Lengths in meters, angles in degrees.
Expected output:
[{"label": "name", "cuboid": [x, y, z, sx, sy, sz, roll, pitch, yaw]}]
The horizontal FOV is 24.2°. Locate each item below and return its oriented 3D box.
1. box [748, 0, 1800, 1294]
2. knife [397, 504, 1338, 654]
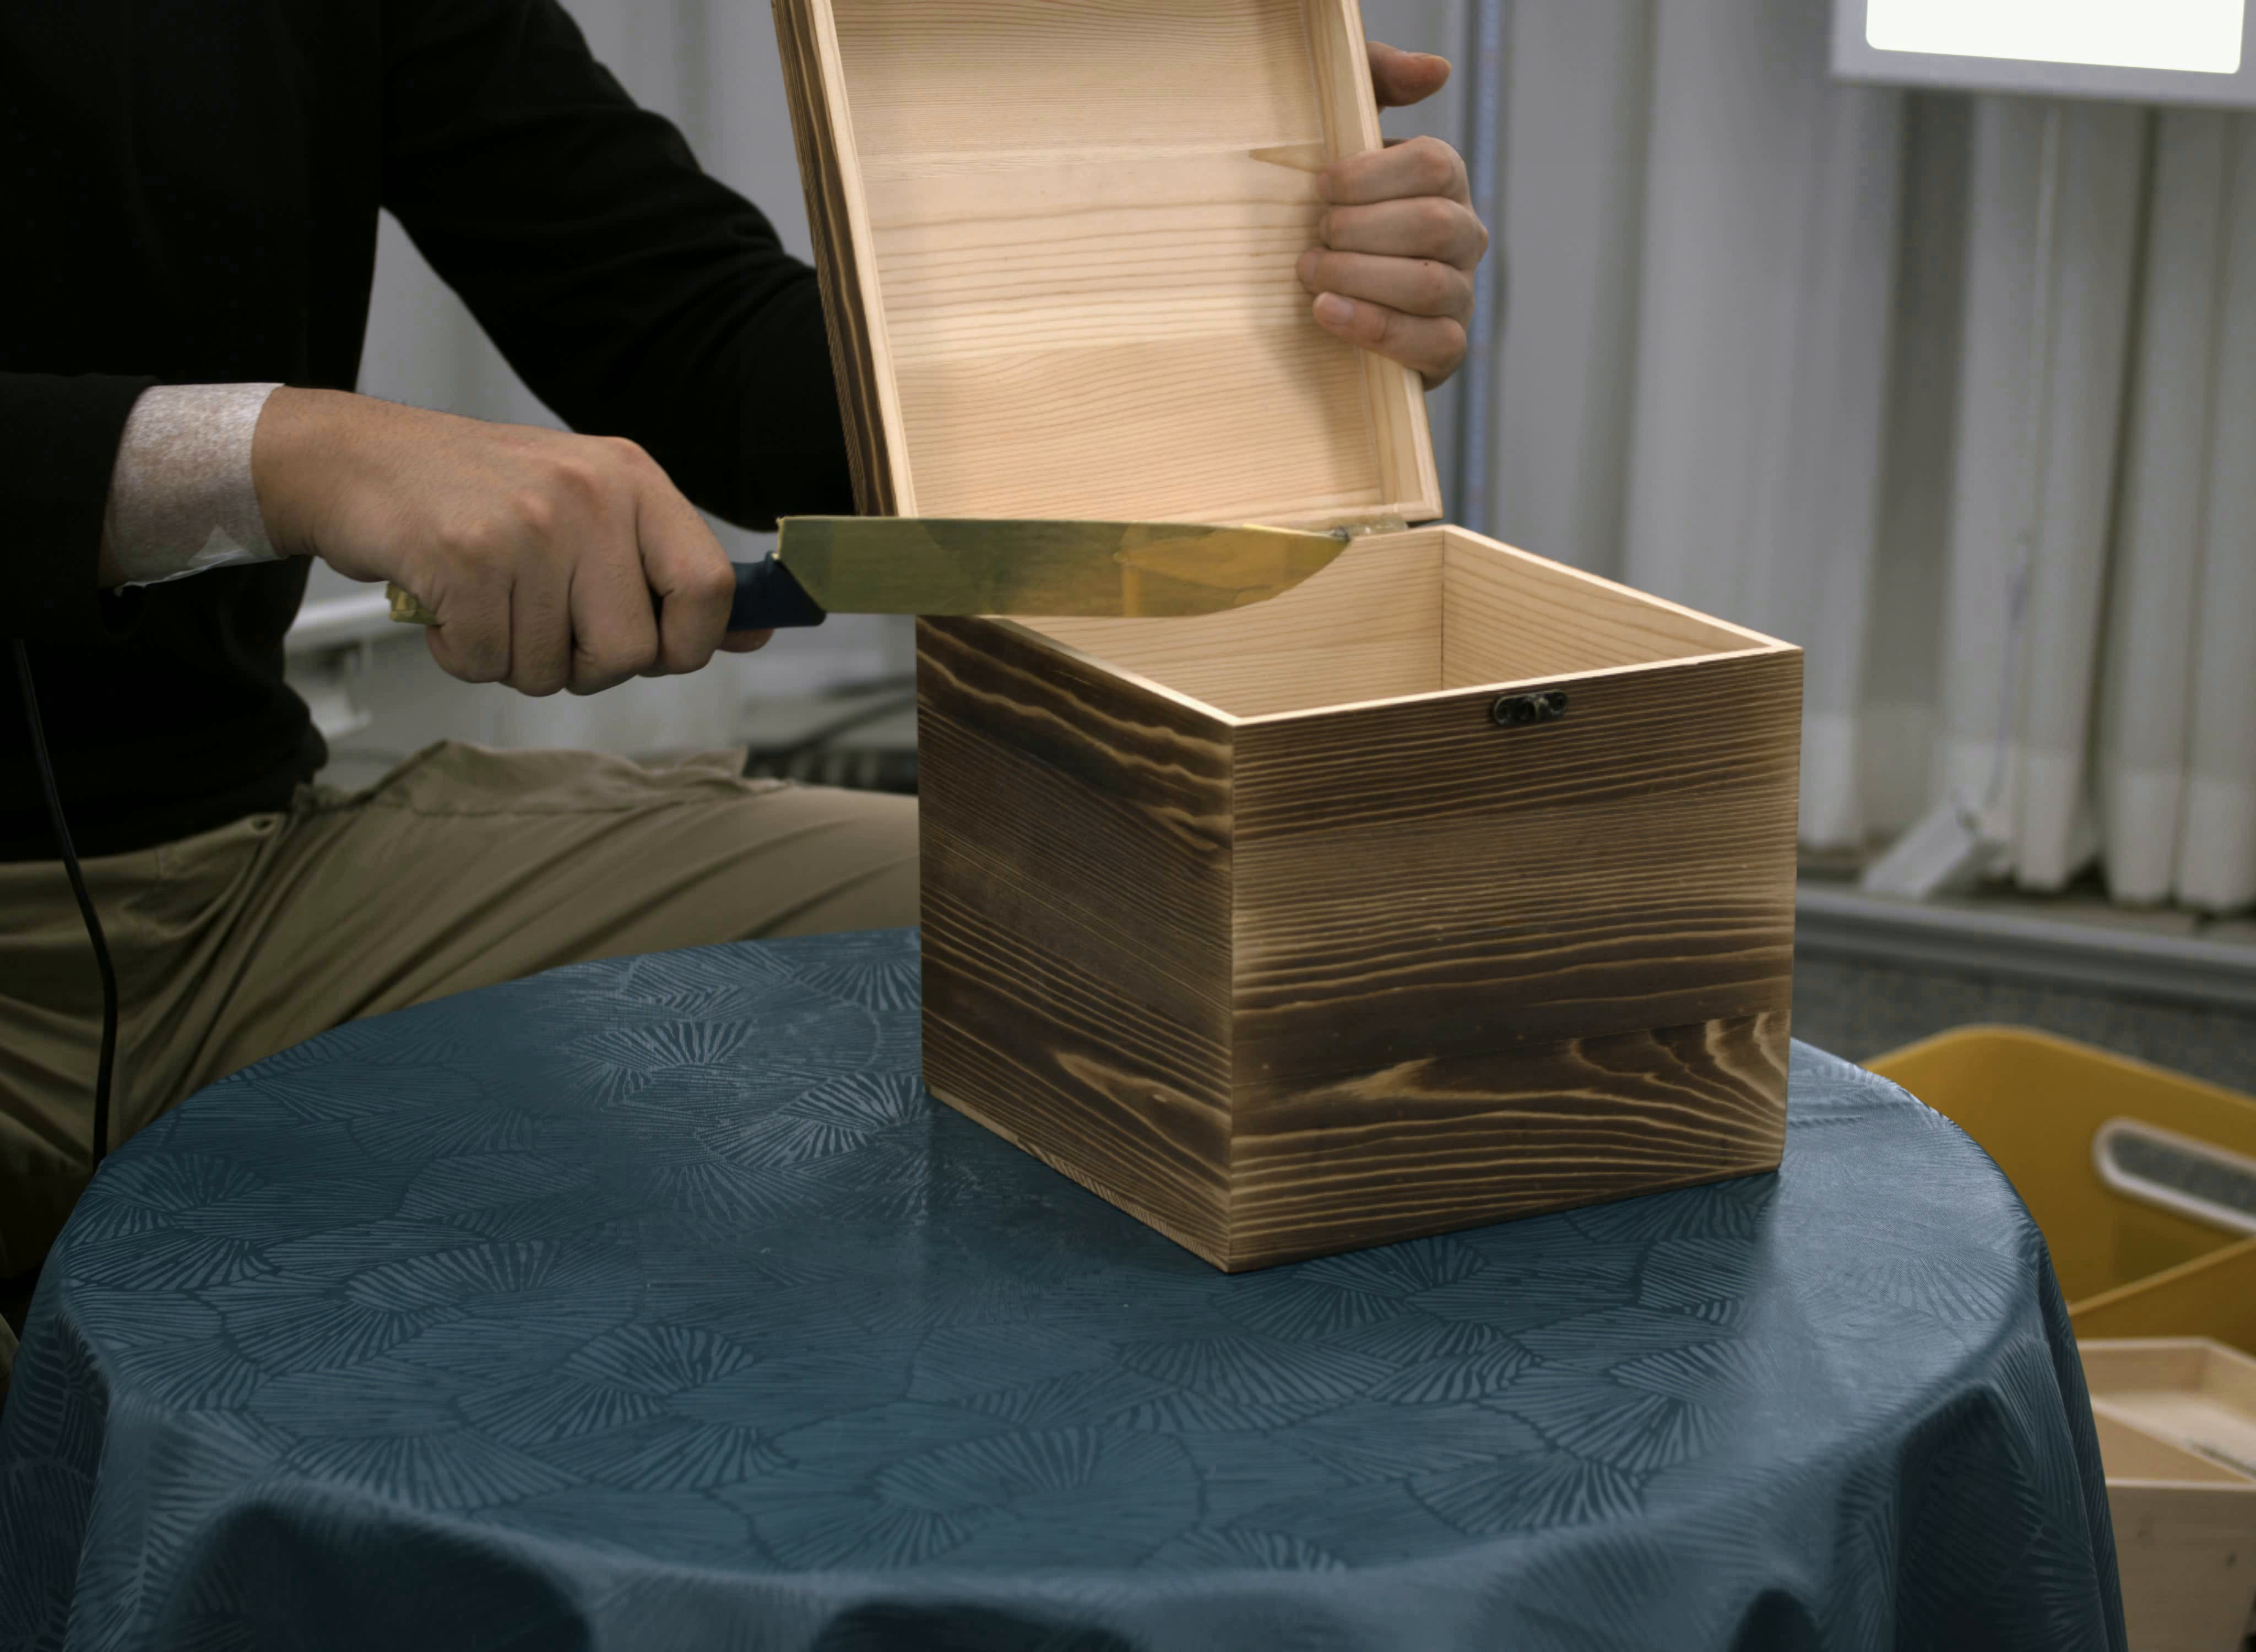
[{"label": "box", "cuboid": [0.041, -0.087, 1.669, 0.209, 0.378, 0.318, -10, 17, -28]}, {"label": "knife", "cuboid": [-0.080, -0.077, 1.594, 0.288, 0.027, 0.082, -3, -24, 0]}]
